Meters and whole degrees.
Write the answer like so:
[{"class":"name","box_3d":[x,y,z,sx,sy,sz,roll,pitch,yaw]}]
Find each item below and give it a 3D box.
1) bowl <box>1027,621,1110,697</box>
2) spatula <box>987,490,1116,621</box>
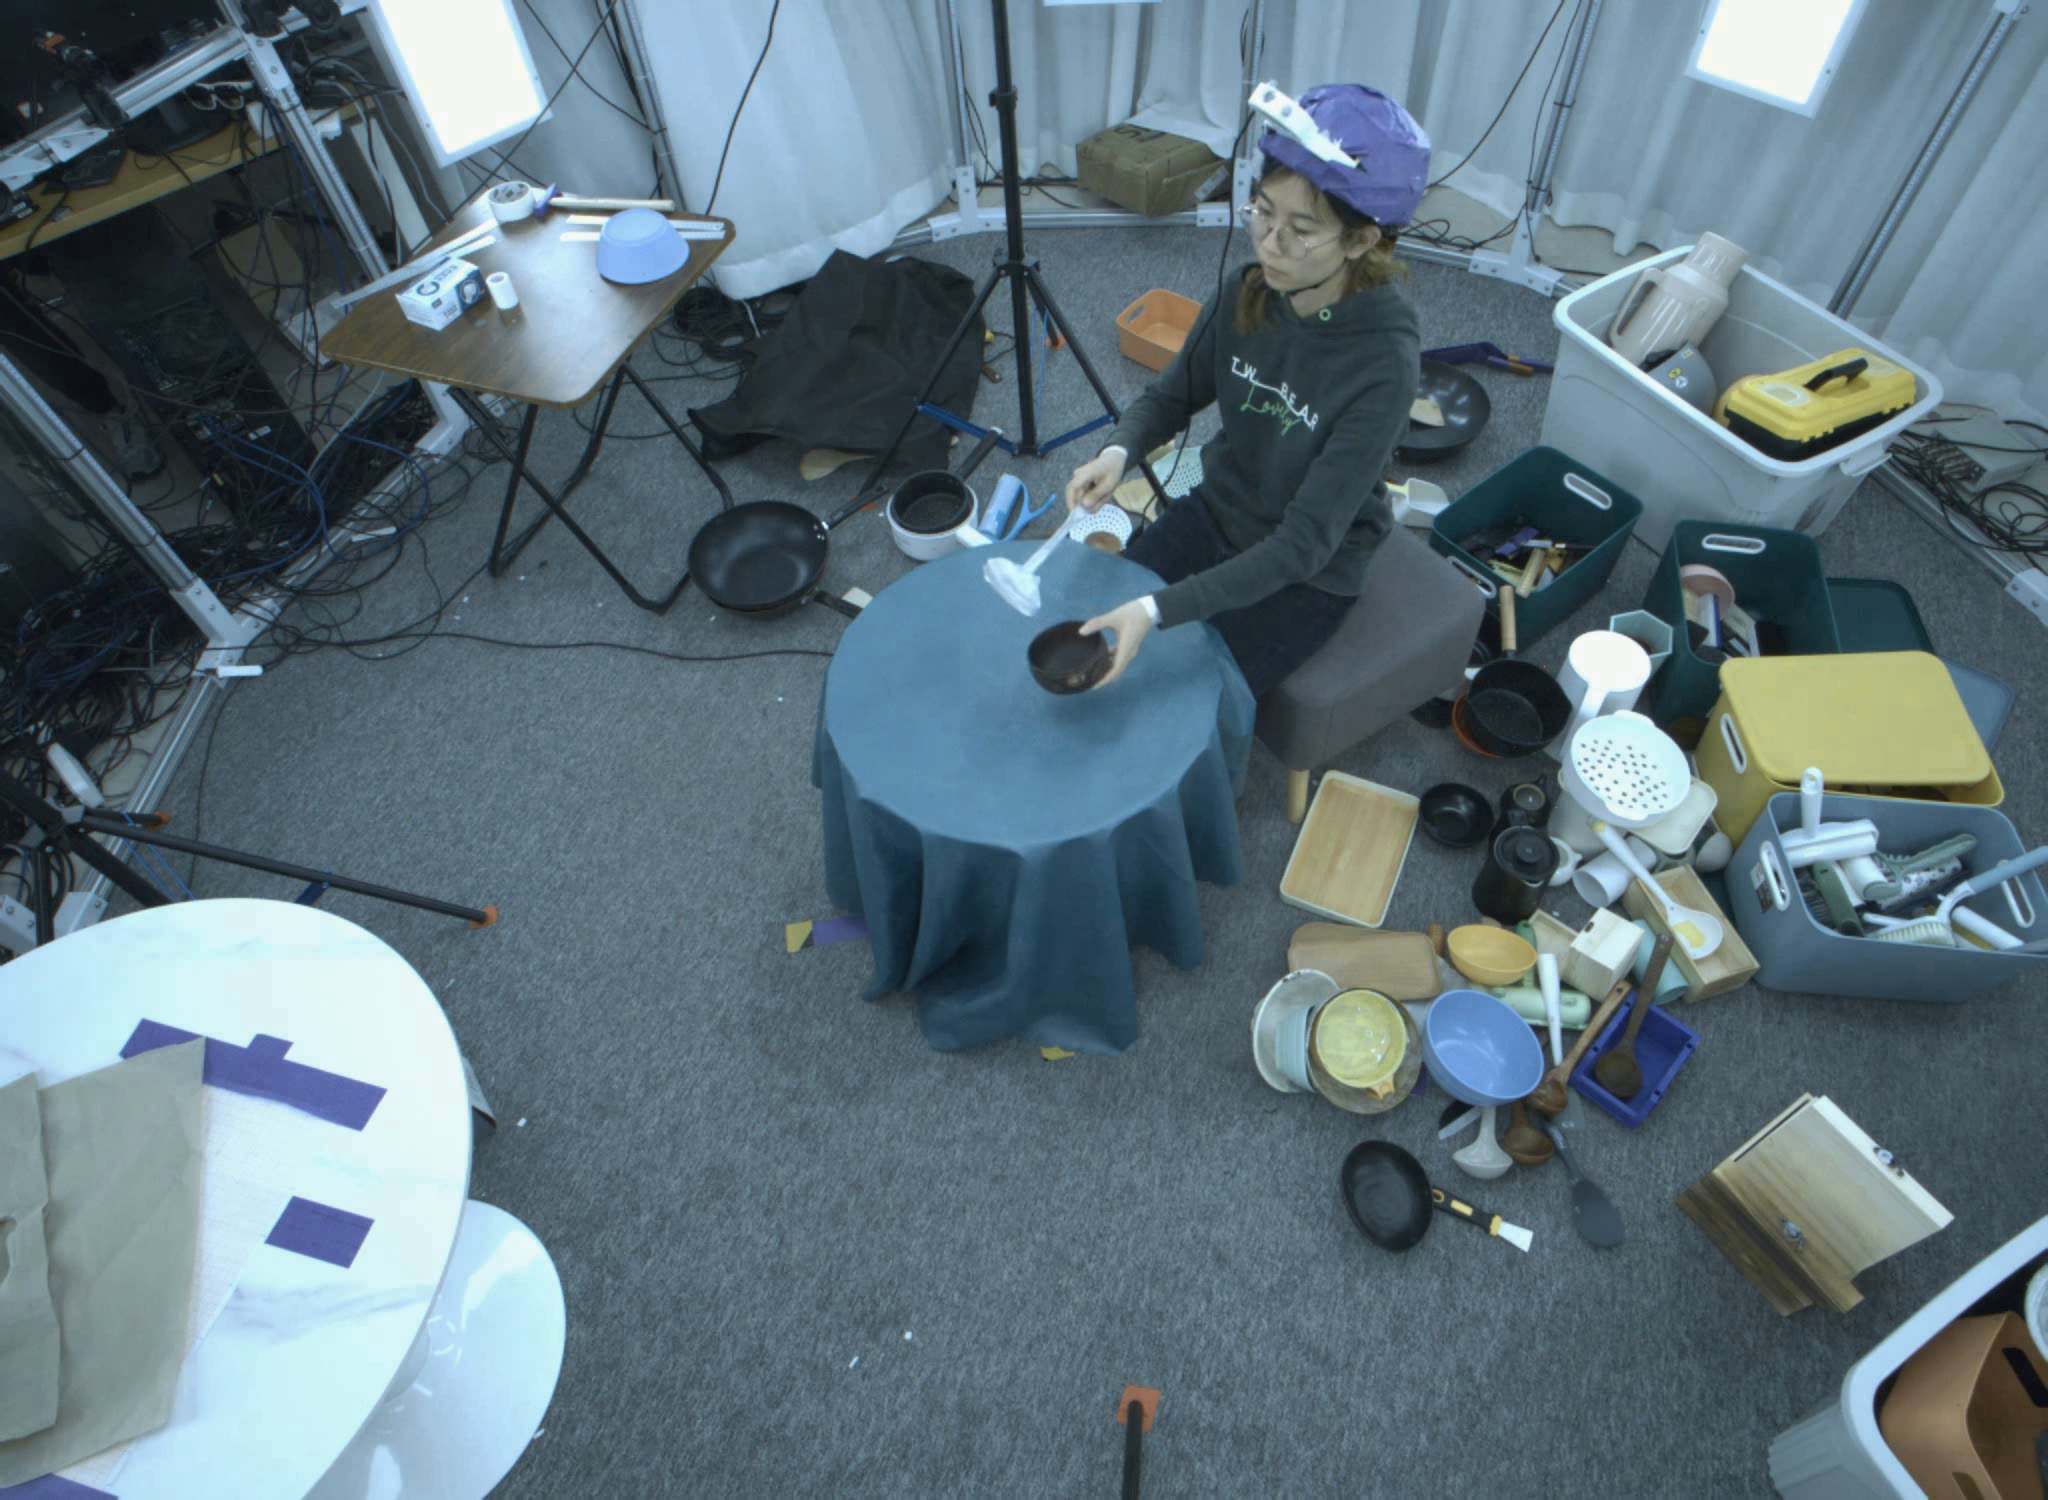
[{"class":"bowl","box_3d":[0.068,-0.123,1.776,0.117,0.071,0.117,-9,45,10]},{"class":"spatula","box_3d":[0.057,-0.307,1.809,0.099,0.044,0.366,44,52,-7]}]
